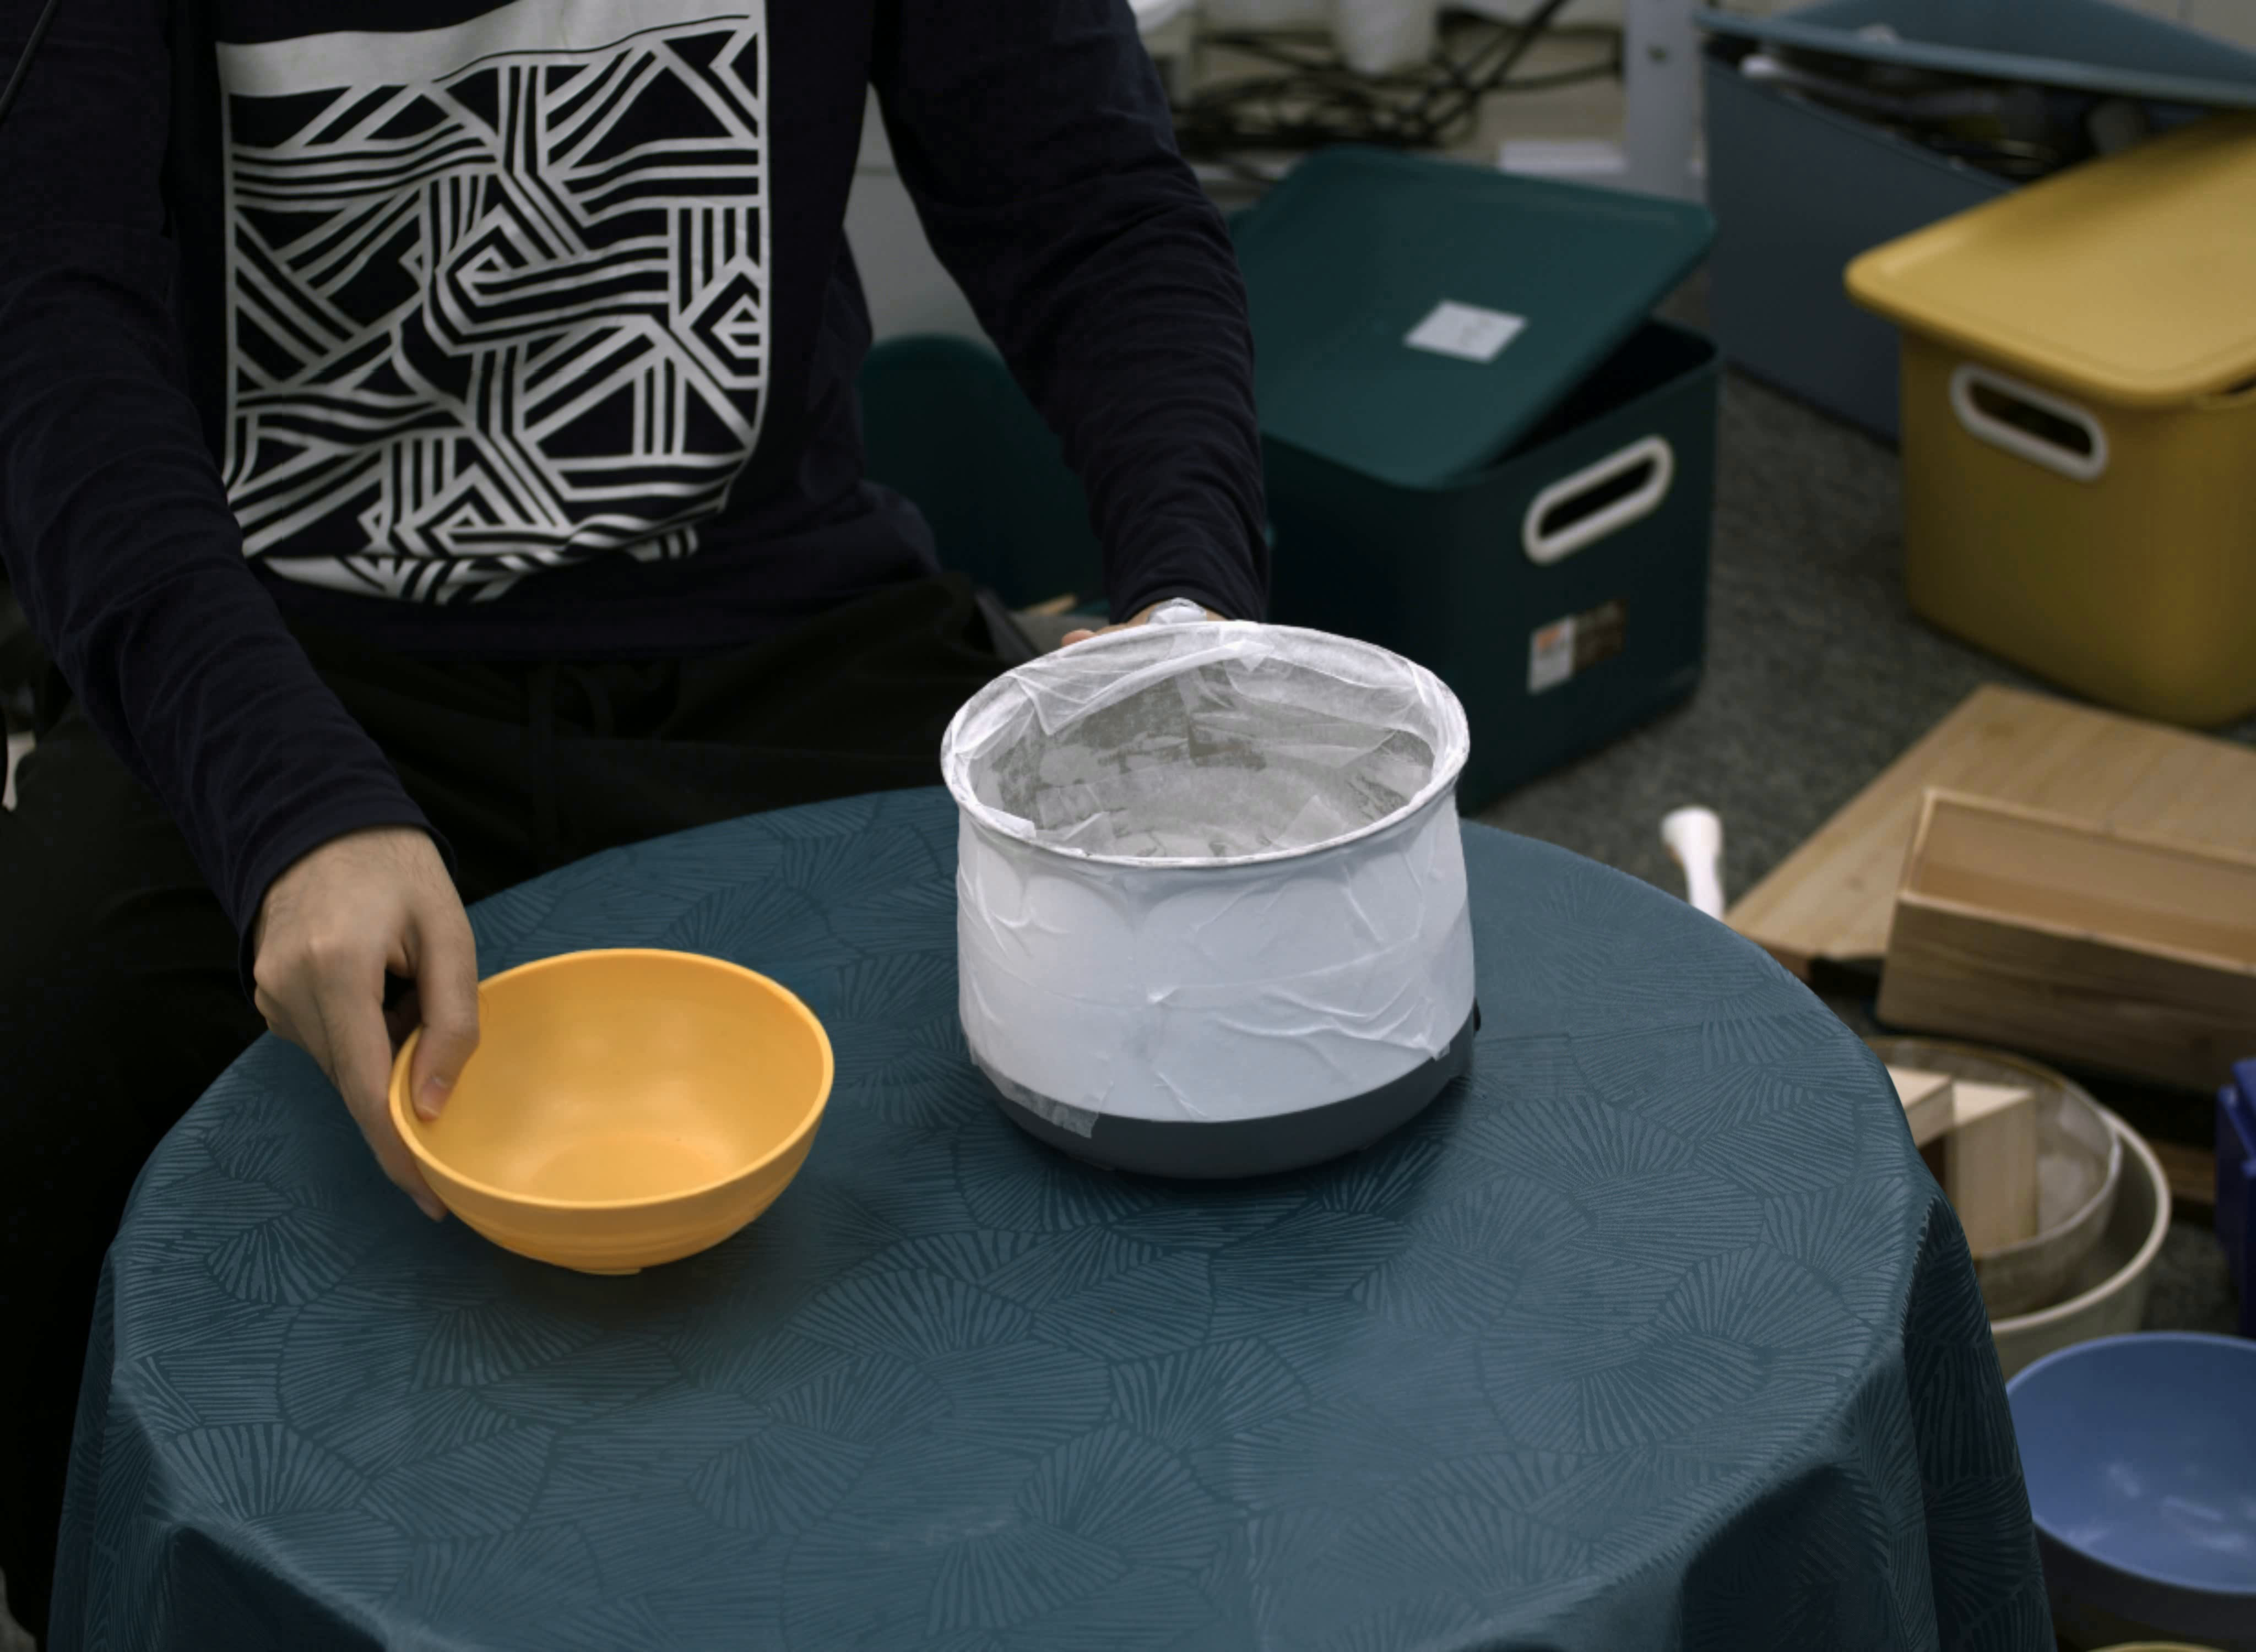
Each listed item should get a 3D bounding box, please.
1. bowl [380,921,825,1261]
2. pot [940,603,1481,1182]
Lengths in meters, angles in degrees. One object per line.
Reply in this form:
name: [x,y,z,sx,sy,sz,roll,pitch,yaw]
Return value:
bowl: [-0.171,0.098,1.837,0.144,0.059,0.148,2,37,-1]
pot: [0.026,0.016,1.921,0.178,0.135,0.237,-5,26,-4]
